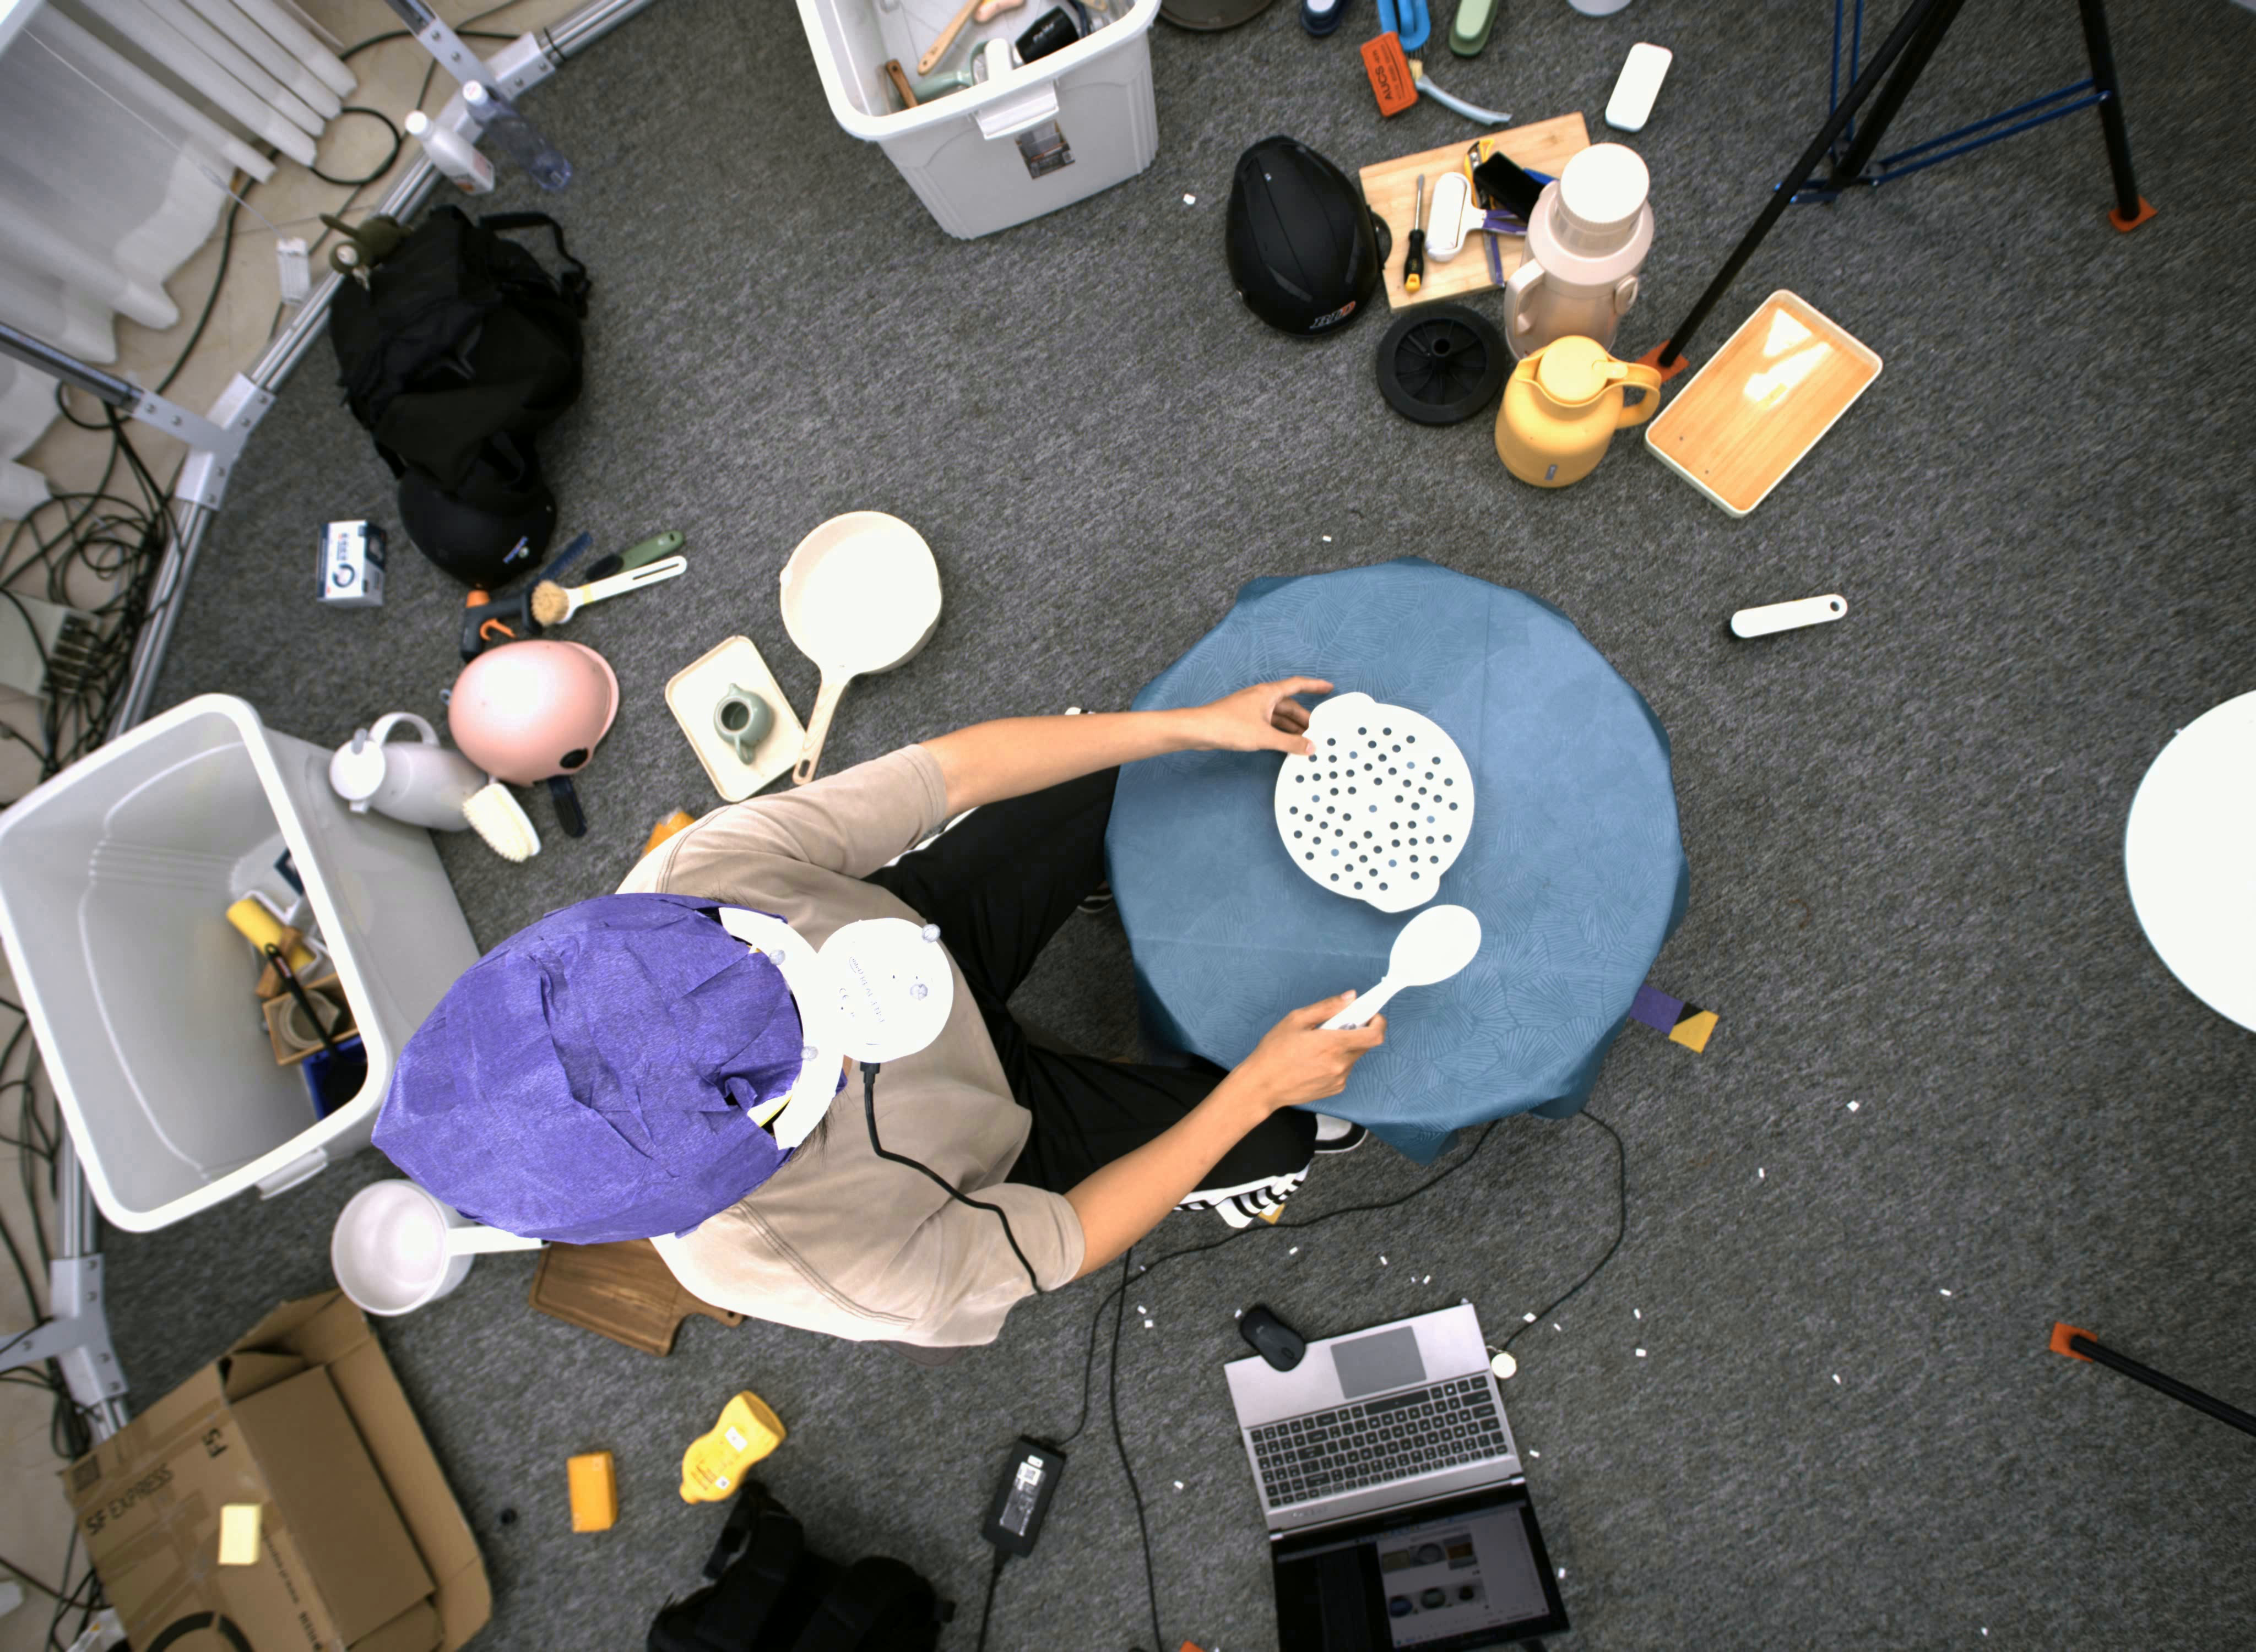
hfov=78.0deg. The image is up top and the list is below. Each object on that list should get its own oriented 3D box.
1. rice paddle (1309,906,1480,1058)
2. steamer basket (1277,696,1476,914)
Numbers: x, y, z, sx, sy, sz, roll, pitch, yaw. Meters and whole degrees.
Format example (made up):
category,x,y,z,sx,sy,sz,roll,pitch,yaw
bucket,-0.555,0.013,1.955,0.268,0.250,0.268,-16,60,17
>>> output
category,x,y,z,sx,sy,sz,roll,pitch,yaw
rice paddle,0.257,0.150,1.339,0.069,0.029,0.209,40,114,-12
steamer basket,0.257,-0.020,1.436,0.203,0.069,0.229,-19,81,8
